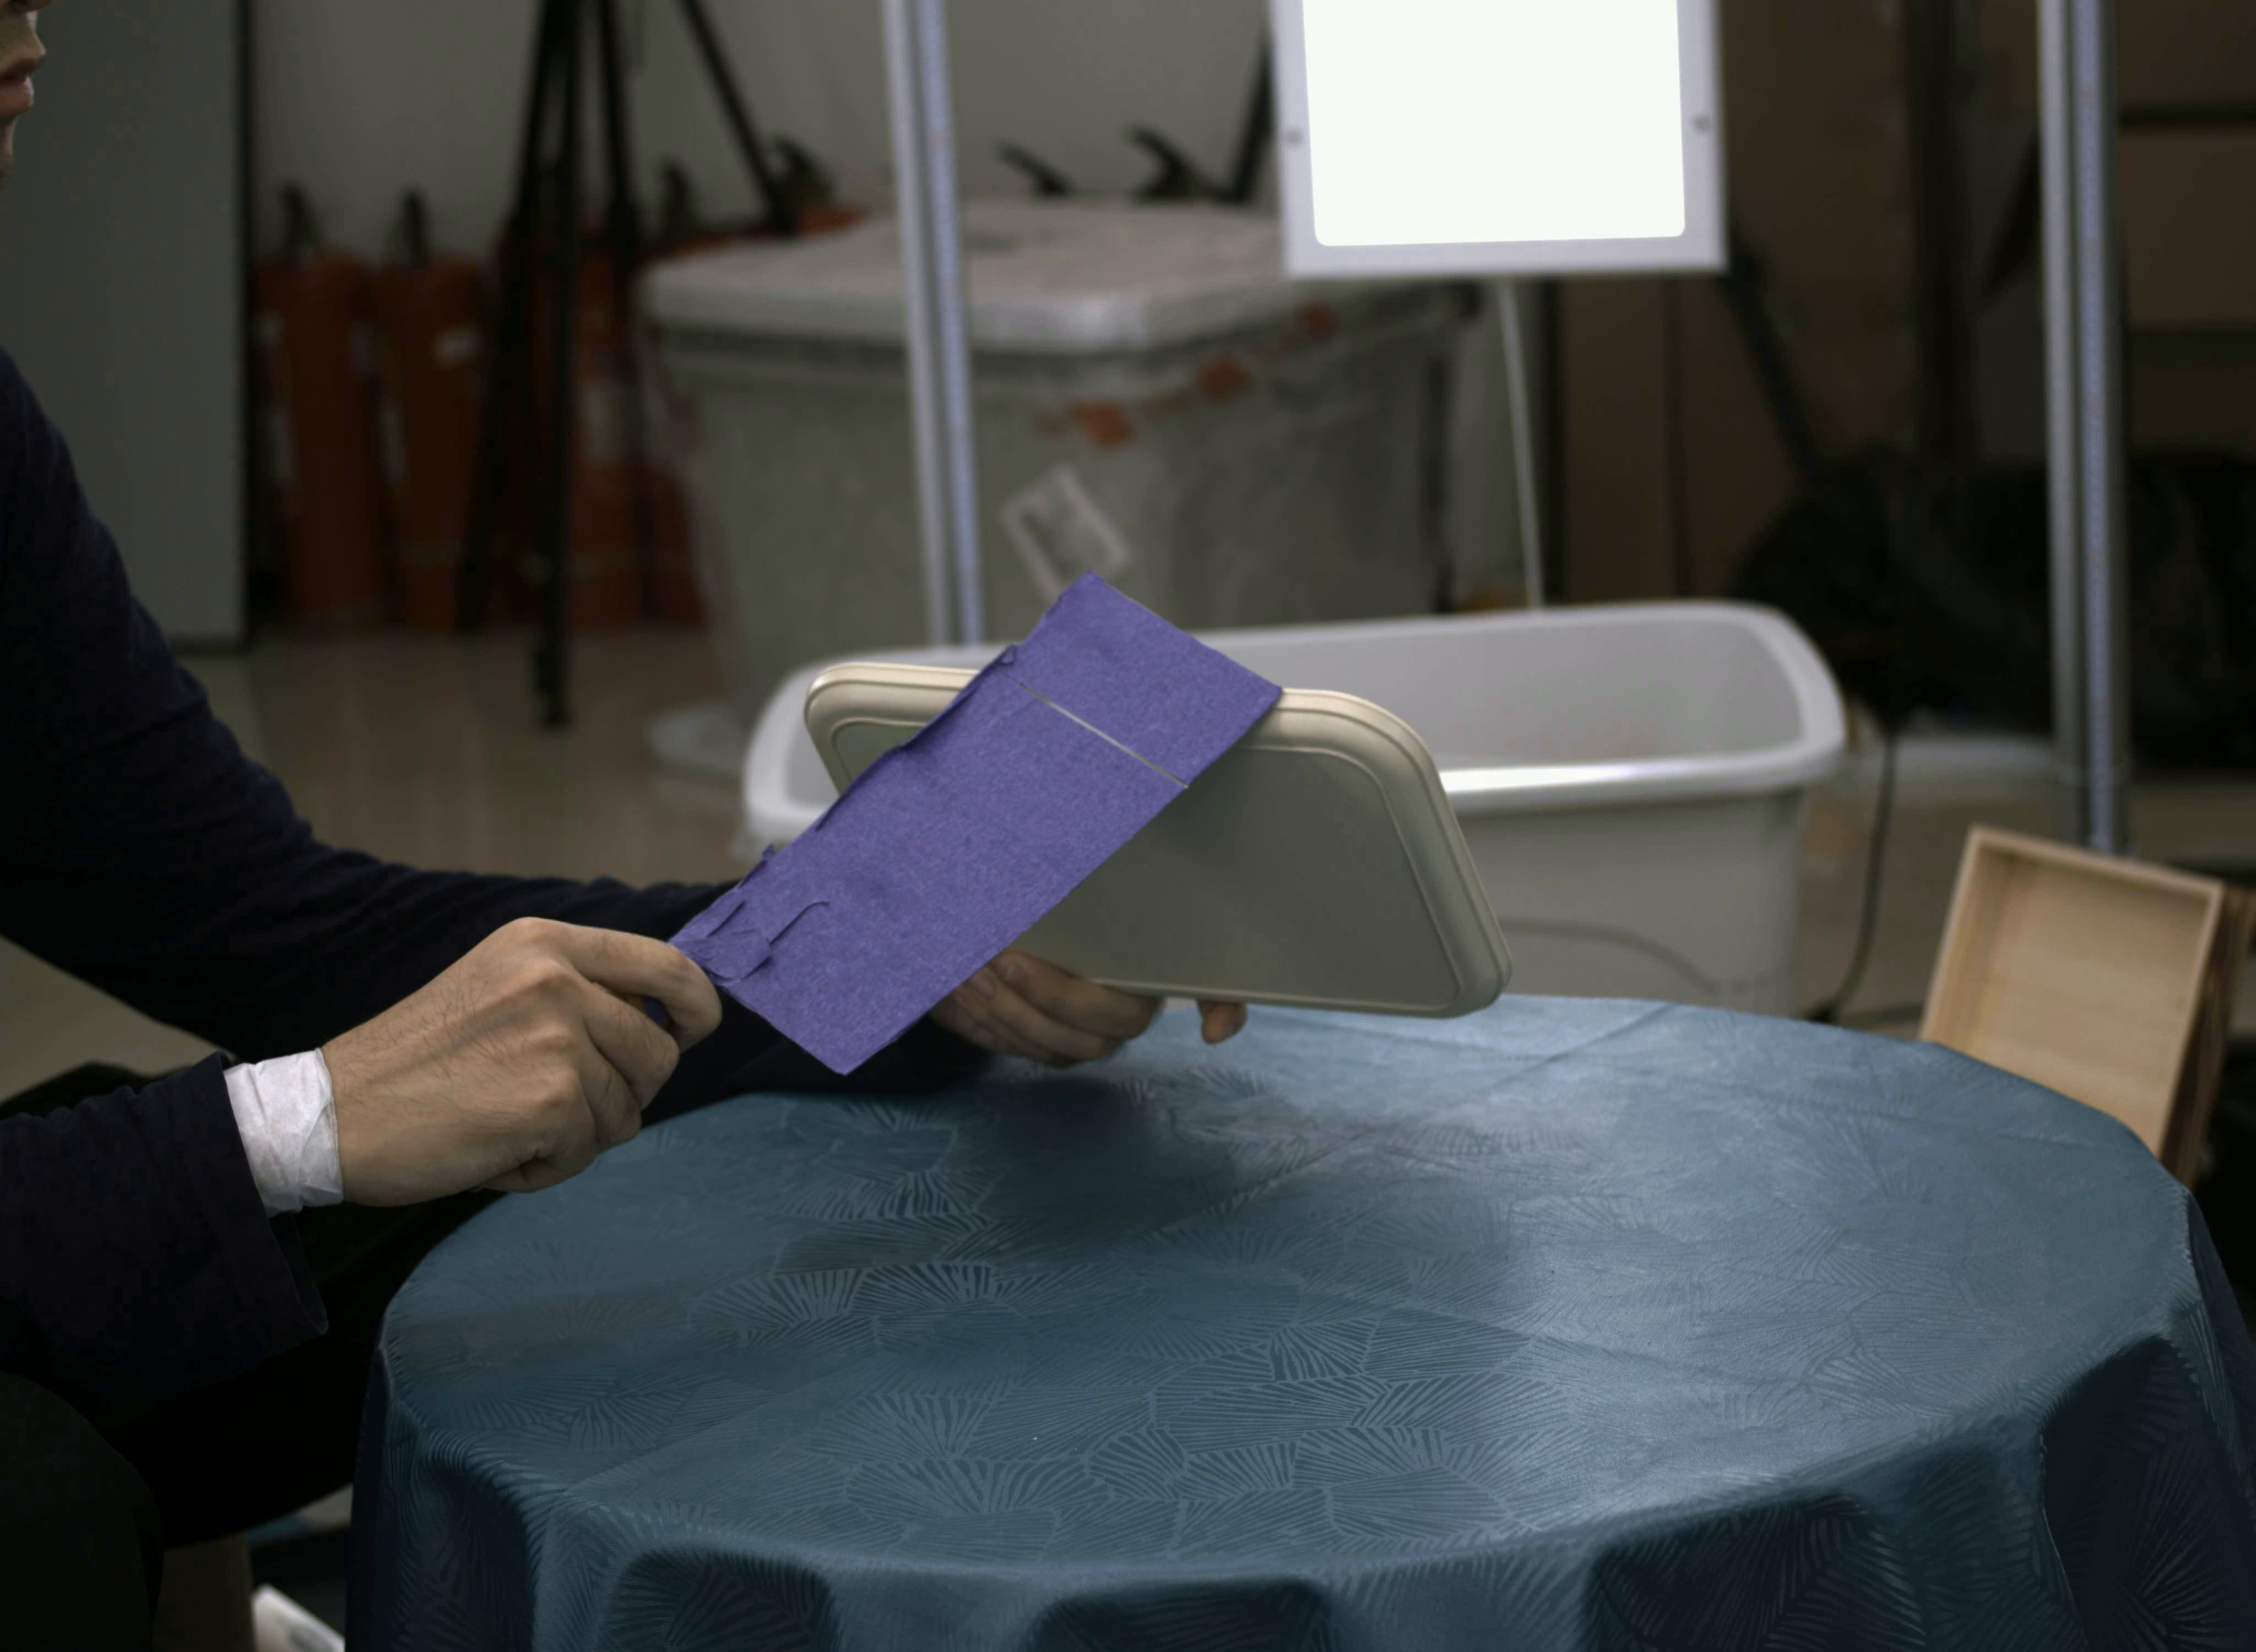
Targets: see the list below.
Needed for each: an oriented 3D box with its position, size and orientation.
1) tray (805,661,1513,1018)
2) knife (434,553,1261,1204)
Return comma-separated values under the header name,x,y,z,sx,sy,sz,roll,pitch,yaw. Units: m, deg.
name,x,y,z,sx,sy,sz,roll,pitch,yaw
tray,0.009,0.008,1.929,0.244,0.170,0.017,4,52,27
knife,-0.087,0.025,1.808,0.311,0.032,0.105,-43,53,-18
